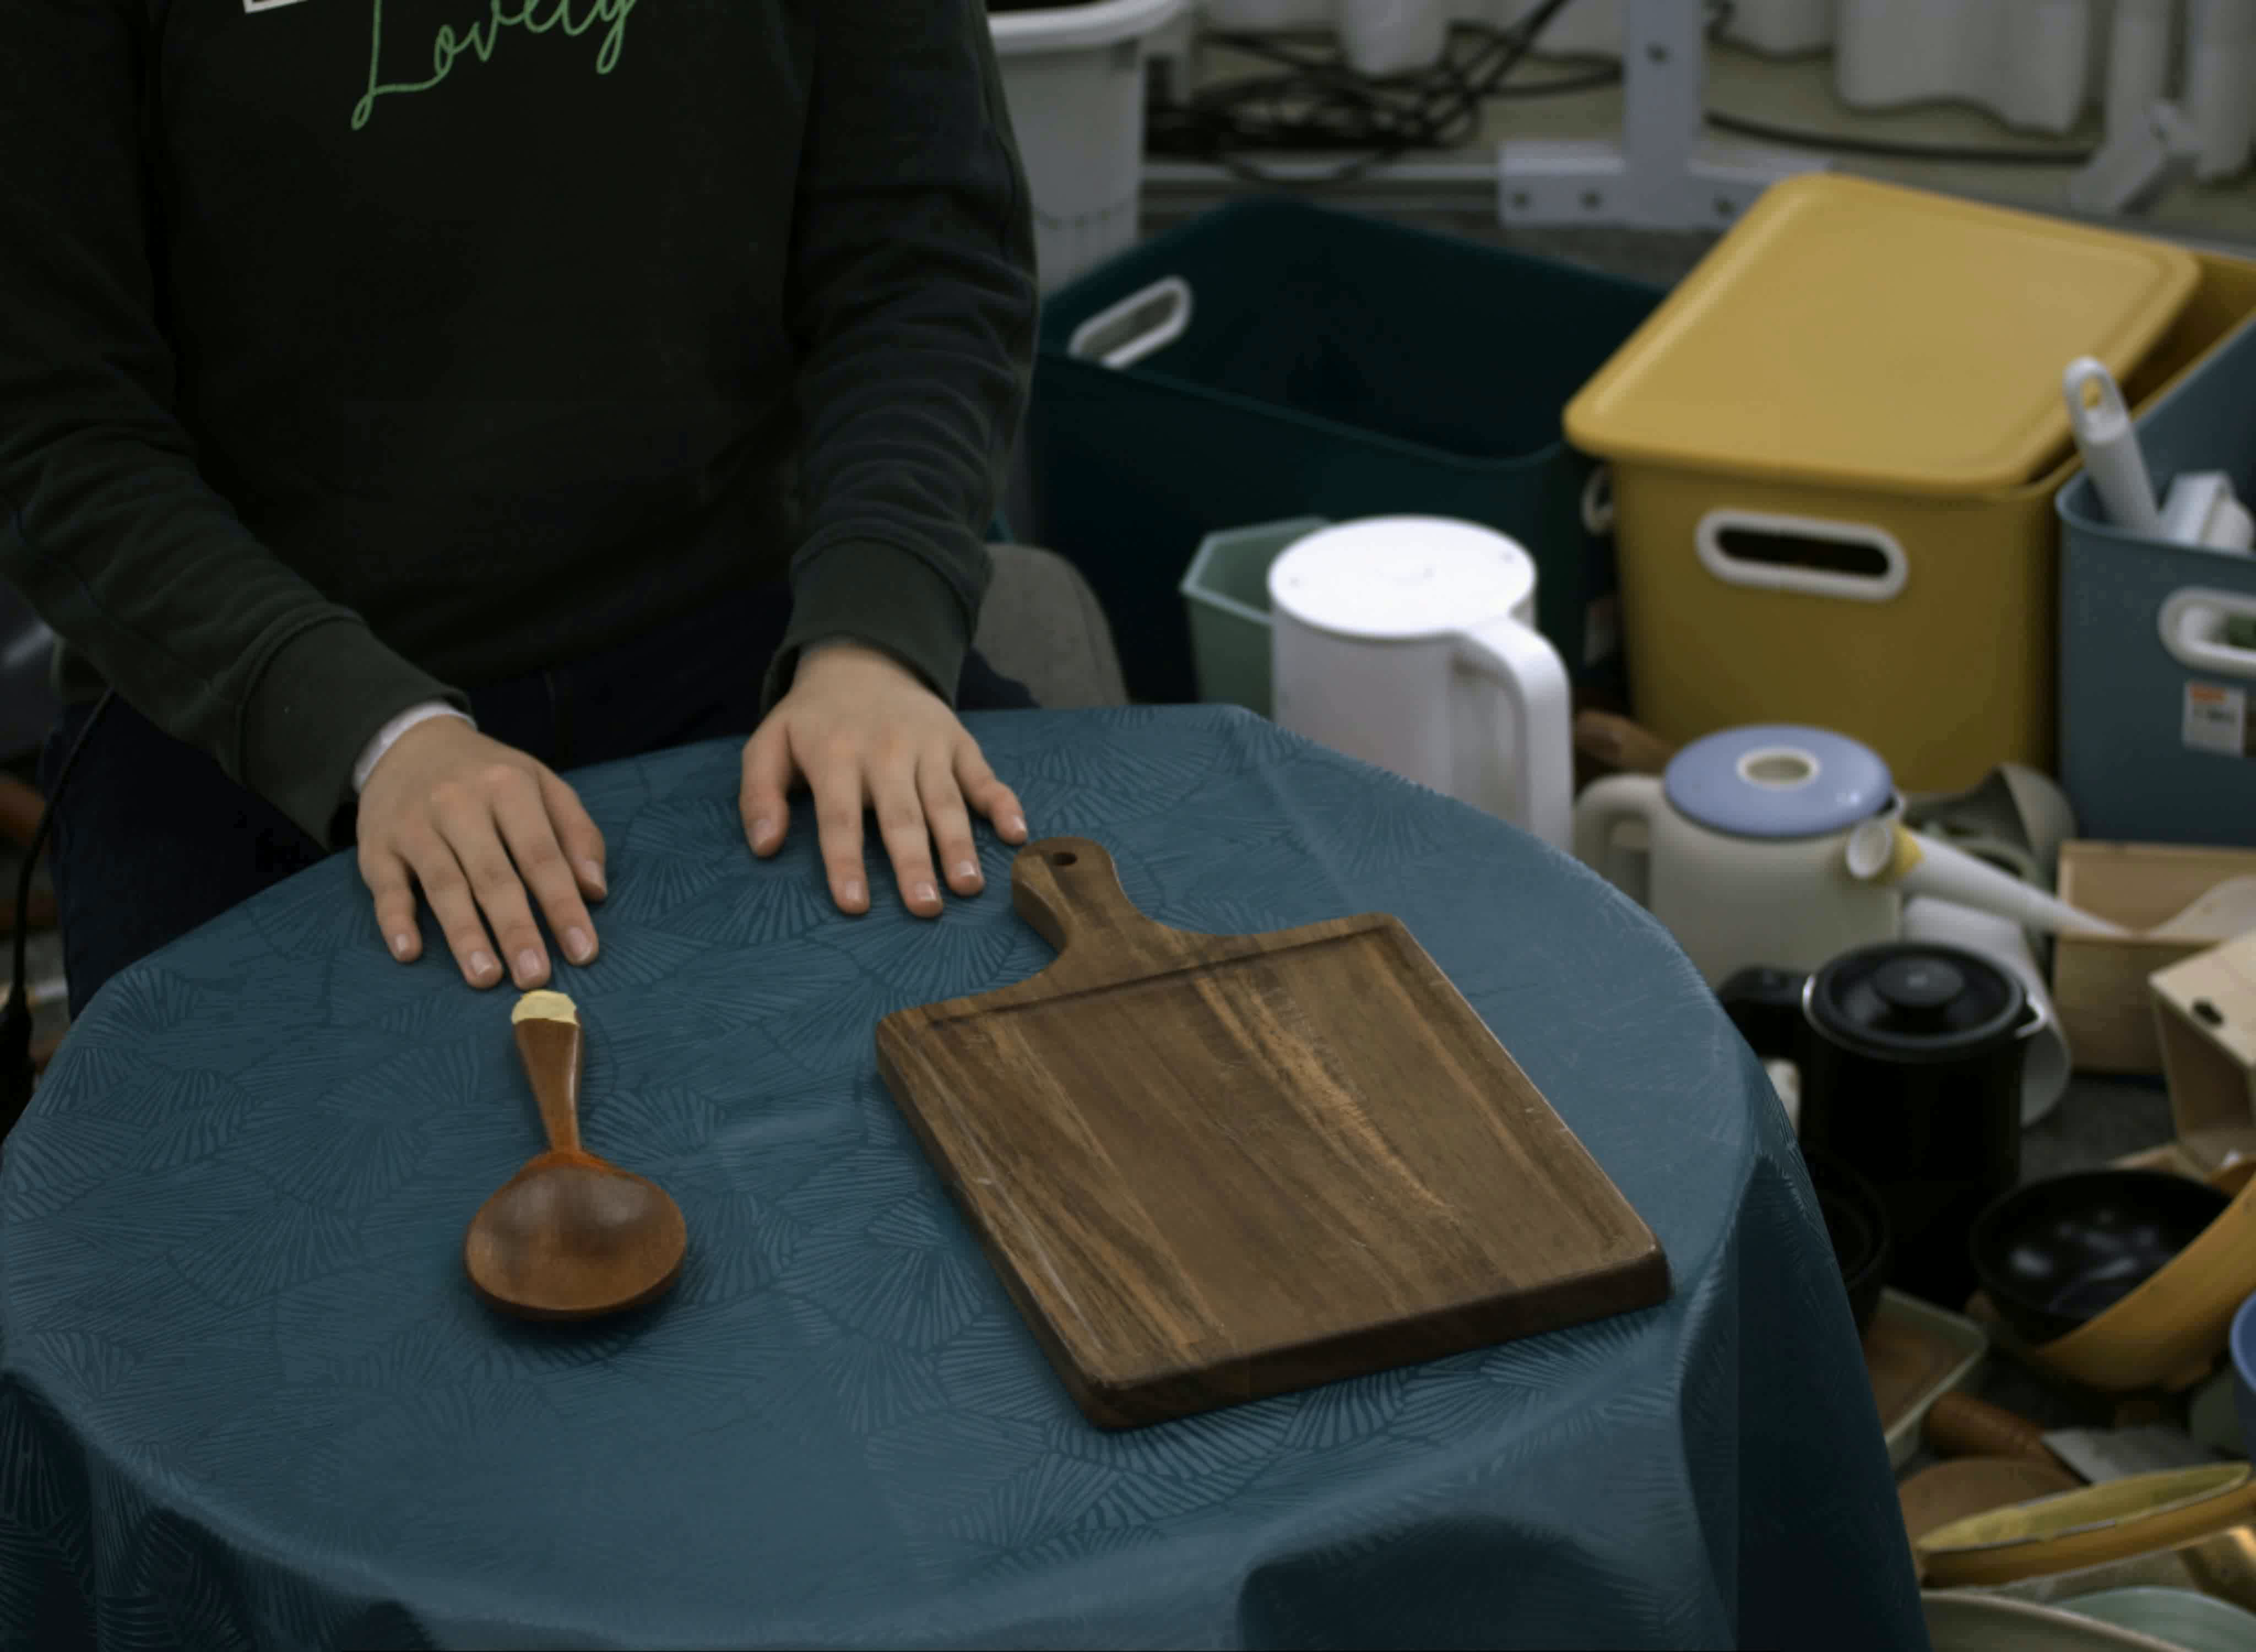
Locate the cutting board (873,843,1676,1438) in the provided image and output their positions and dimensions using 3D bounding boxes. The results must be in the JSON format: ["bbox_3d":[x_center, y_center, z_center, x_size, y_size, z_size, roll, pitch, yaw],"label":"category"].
[{"bbox_3d":[0.027,0.089,1.902,0.201,0.023,0.355,-12,28,-15],"label":"cutting board"}]

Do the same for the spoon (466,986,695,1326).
[{"bbox_3d":[-0.188,0.111,1.881,0.075,0.017,0.218,-8,28,-6],"label":"spoon"}]
